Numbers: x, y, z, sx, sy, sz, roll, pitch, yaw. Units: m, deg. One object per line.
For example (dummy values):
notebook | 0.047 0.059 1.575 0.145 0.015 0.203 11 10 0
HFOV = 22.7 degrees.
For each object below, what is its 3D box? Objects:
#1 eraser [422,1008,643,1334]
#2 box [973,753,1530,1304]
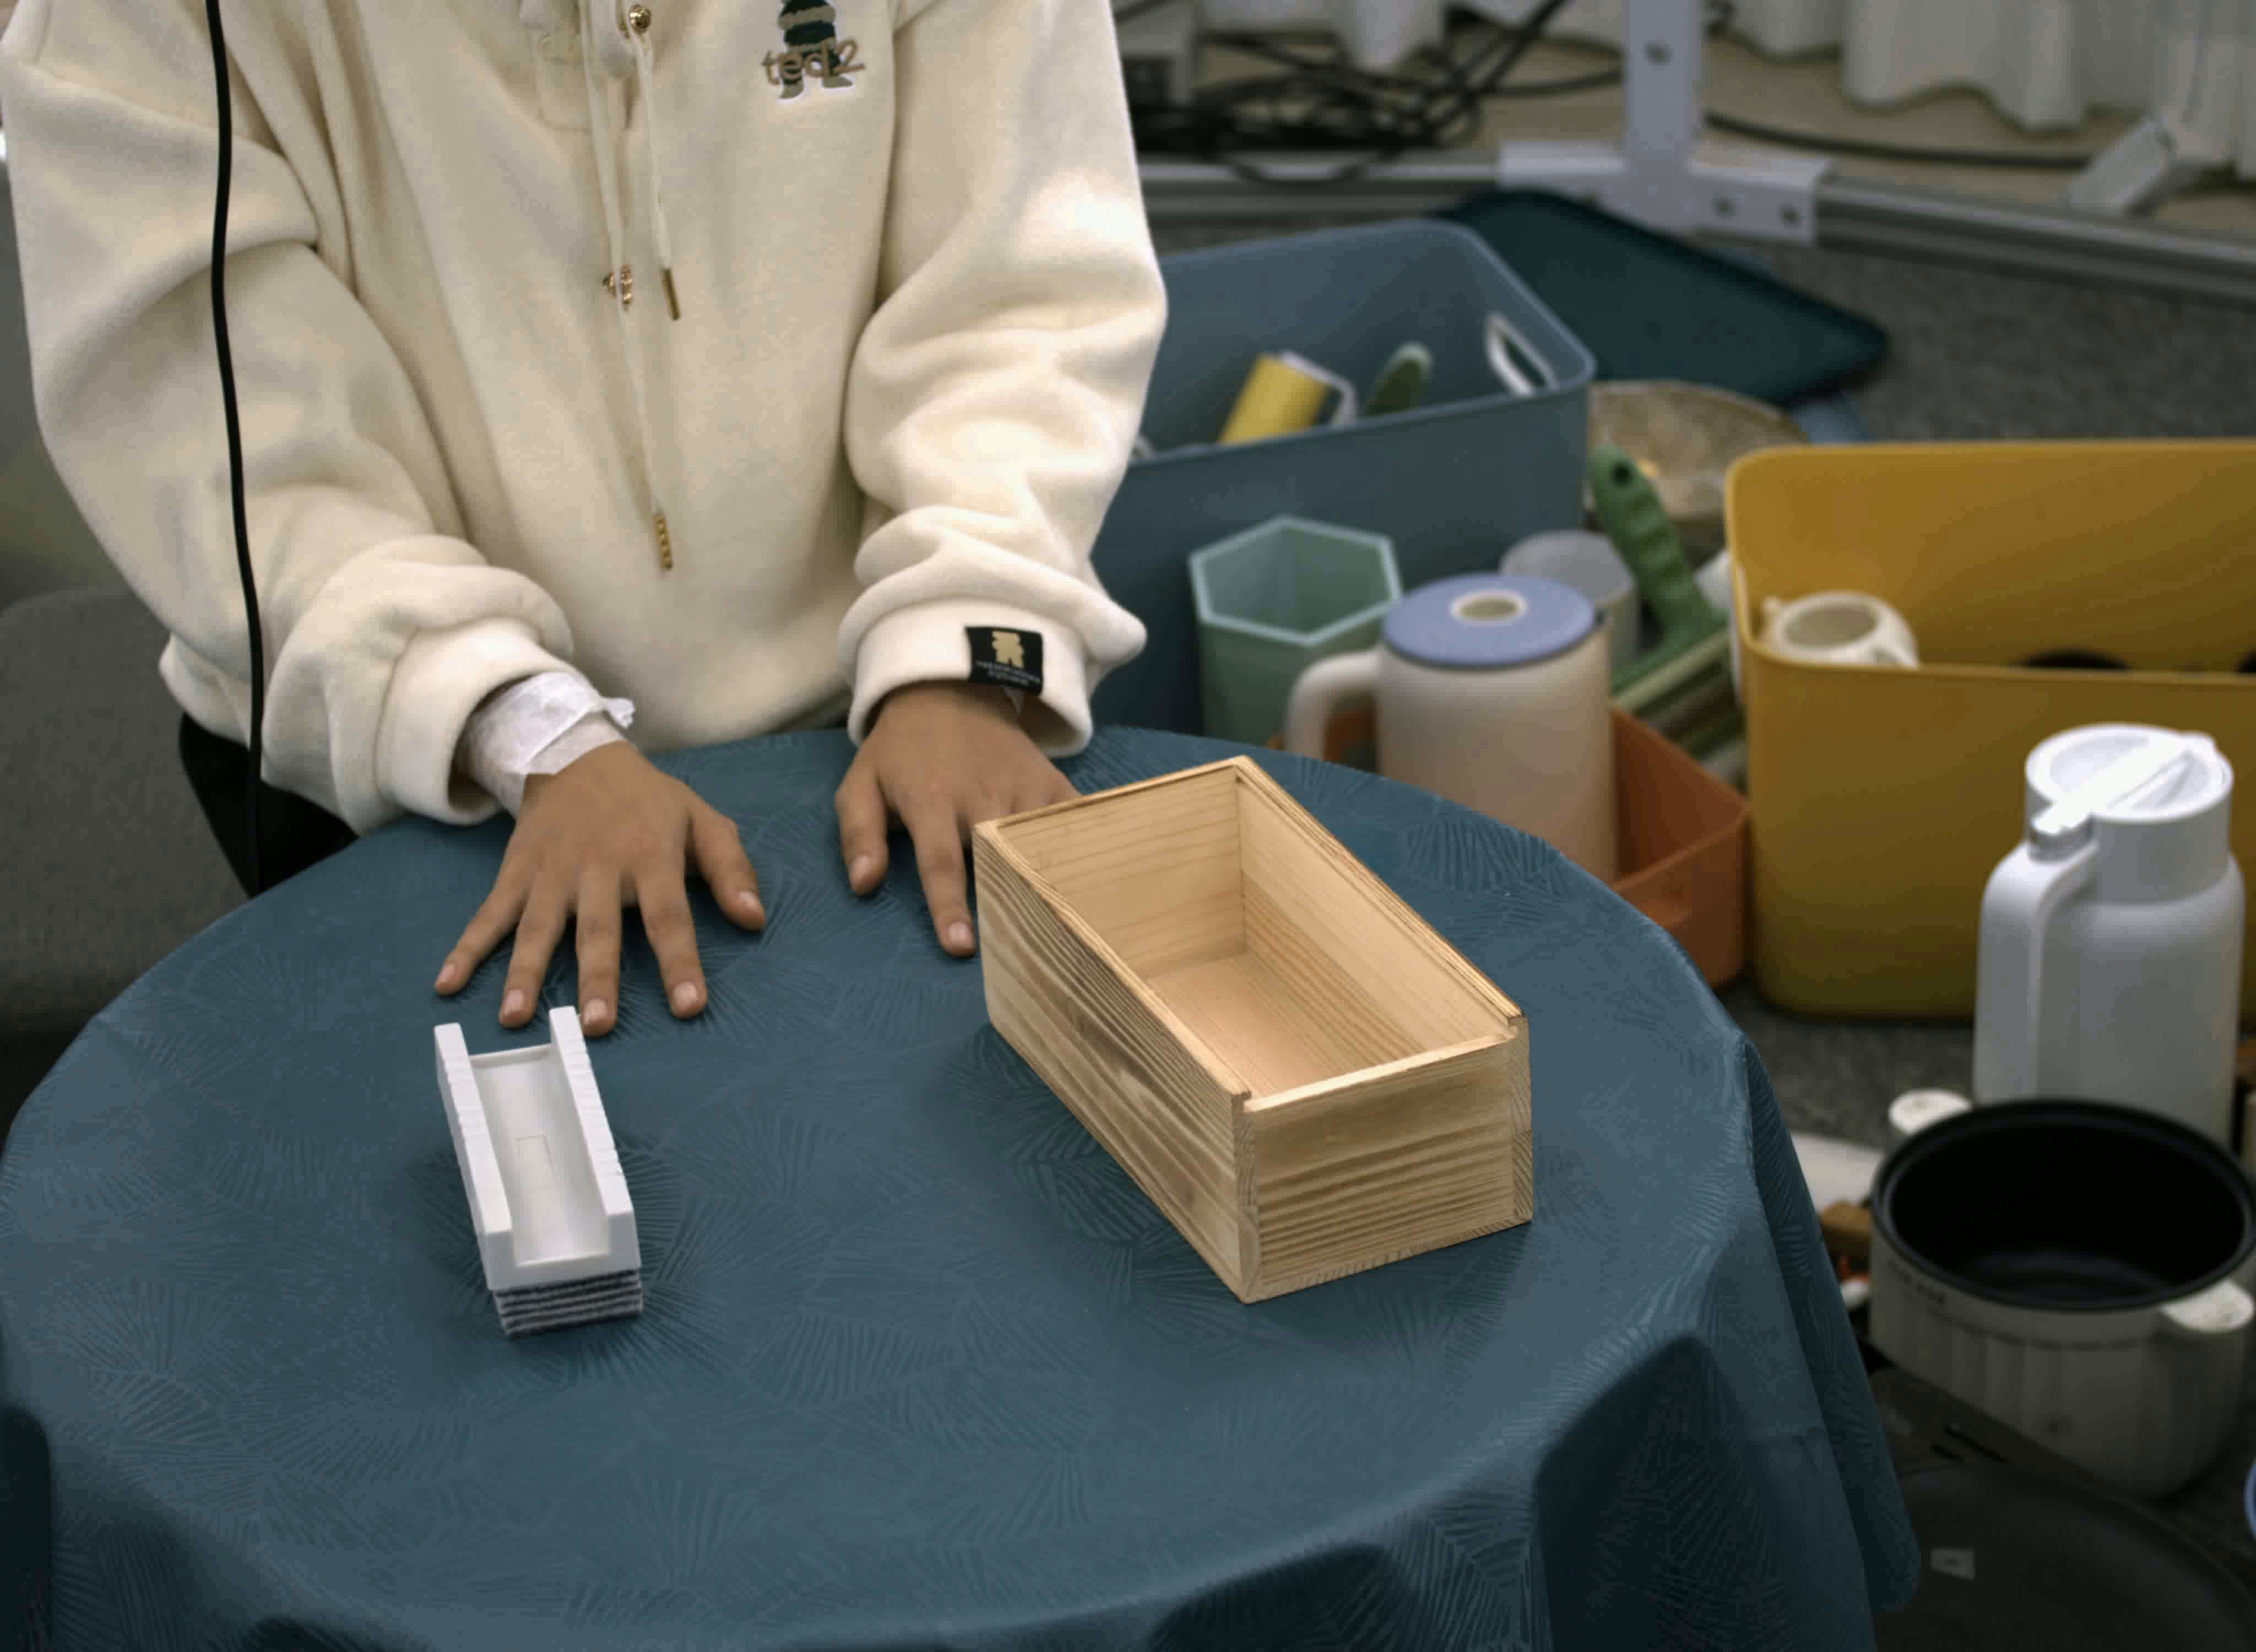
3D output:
eraser | -0.196 0.113 1.847 0.050 0.046 0.136 -11 30 -12
box | 0.039 0.064 1.884 0.108 0.079 0.213 -14 30 -21
